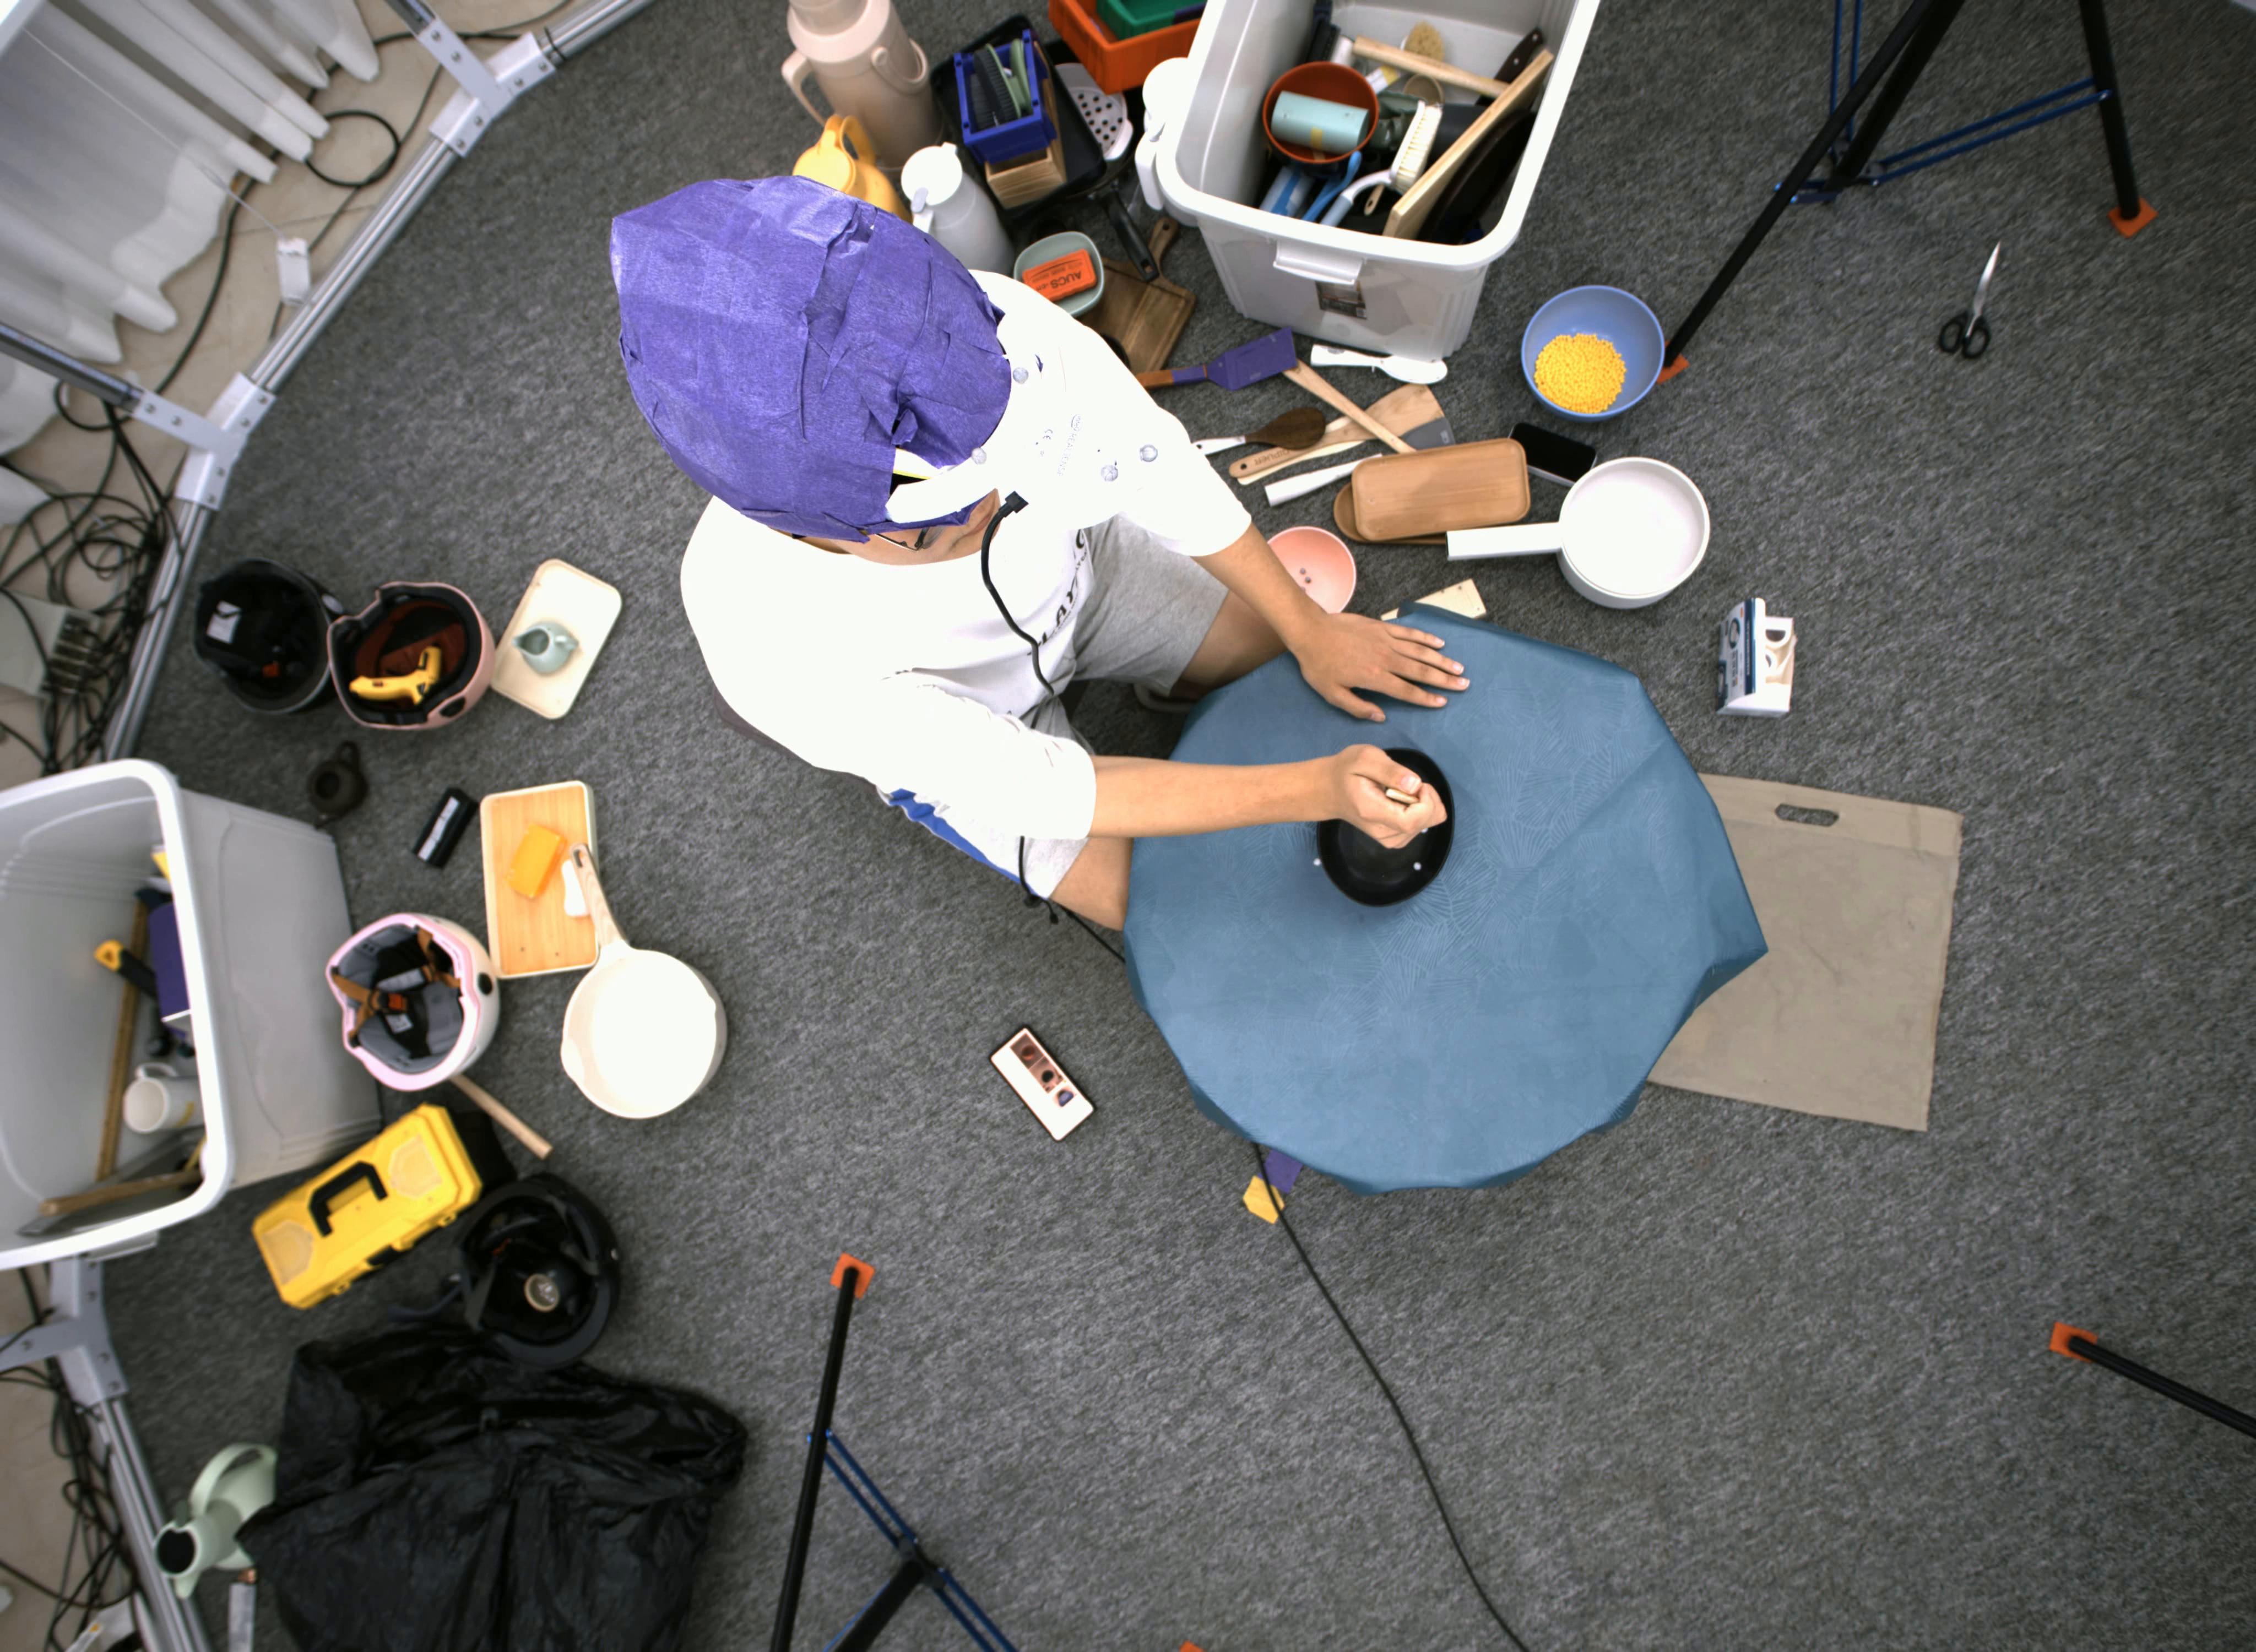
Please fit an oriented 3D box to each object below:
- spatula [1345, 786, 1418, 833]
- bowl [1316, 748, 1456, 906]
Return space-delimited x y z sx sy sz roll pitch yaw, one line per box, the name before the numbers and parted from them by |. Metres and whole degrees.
spatula | 0.234 -0.015 1.235 0.072 0.293 0.010 18 88 8
bowl | 0.268 0.000 1.432 0.137 0.067 0.170 18 88 12
